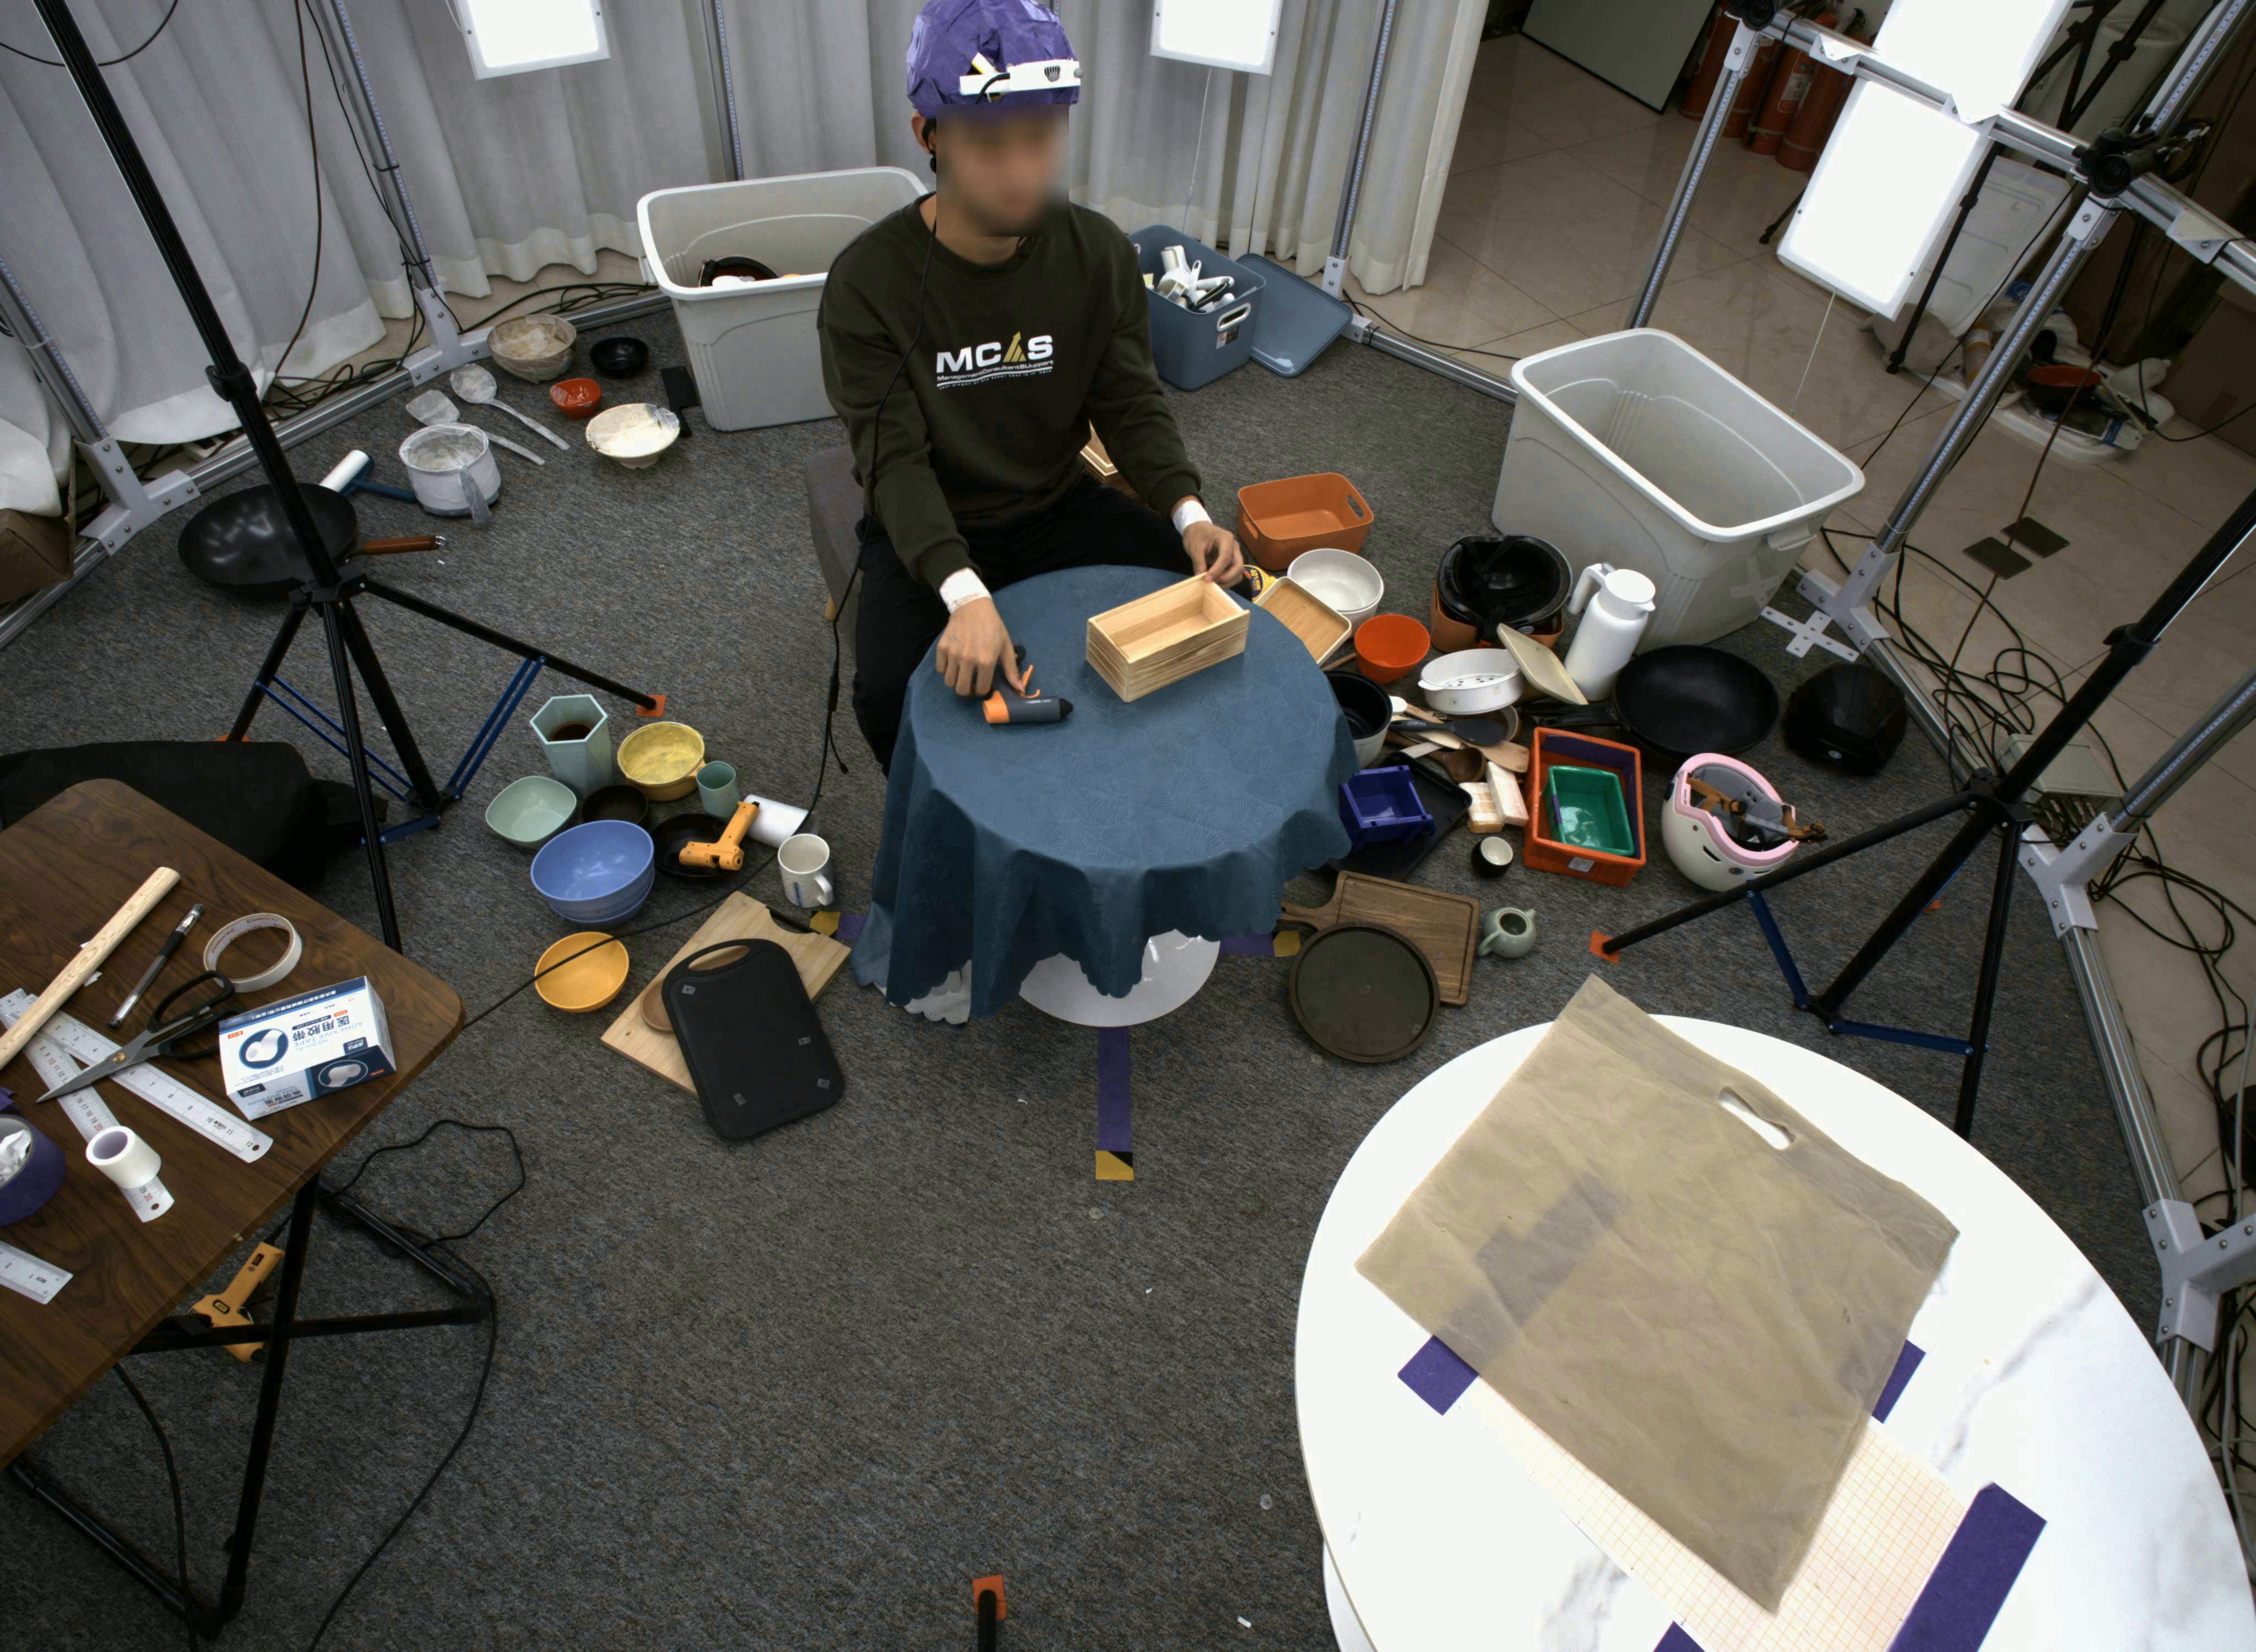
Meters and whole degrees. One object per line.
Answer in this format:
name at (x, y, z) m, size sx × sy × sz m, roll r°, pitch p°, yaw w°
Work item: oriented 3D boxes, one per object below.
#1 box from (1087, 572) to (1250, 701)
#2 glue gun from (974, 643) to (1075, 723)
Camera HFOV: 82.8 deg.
box at (0.058, -0.275, 1.852) m, size 0.212 × 0.078 × 0.109 m, roll -26°, pitch 55°, yaw -24°
glue gun at (-0.151, -0.192, 1.796) m, size 0.118 × 0.040 × 0.143 m, roll -14°, pitch 54°, yaw -21°
